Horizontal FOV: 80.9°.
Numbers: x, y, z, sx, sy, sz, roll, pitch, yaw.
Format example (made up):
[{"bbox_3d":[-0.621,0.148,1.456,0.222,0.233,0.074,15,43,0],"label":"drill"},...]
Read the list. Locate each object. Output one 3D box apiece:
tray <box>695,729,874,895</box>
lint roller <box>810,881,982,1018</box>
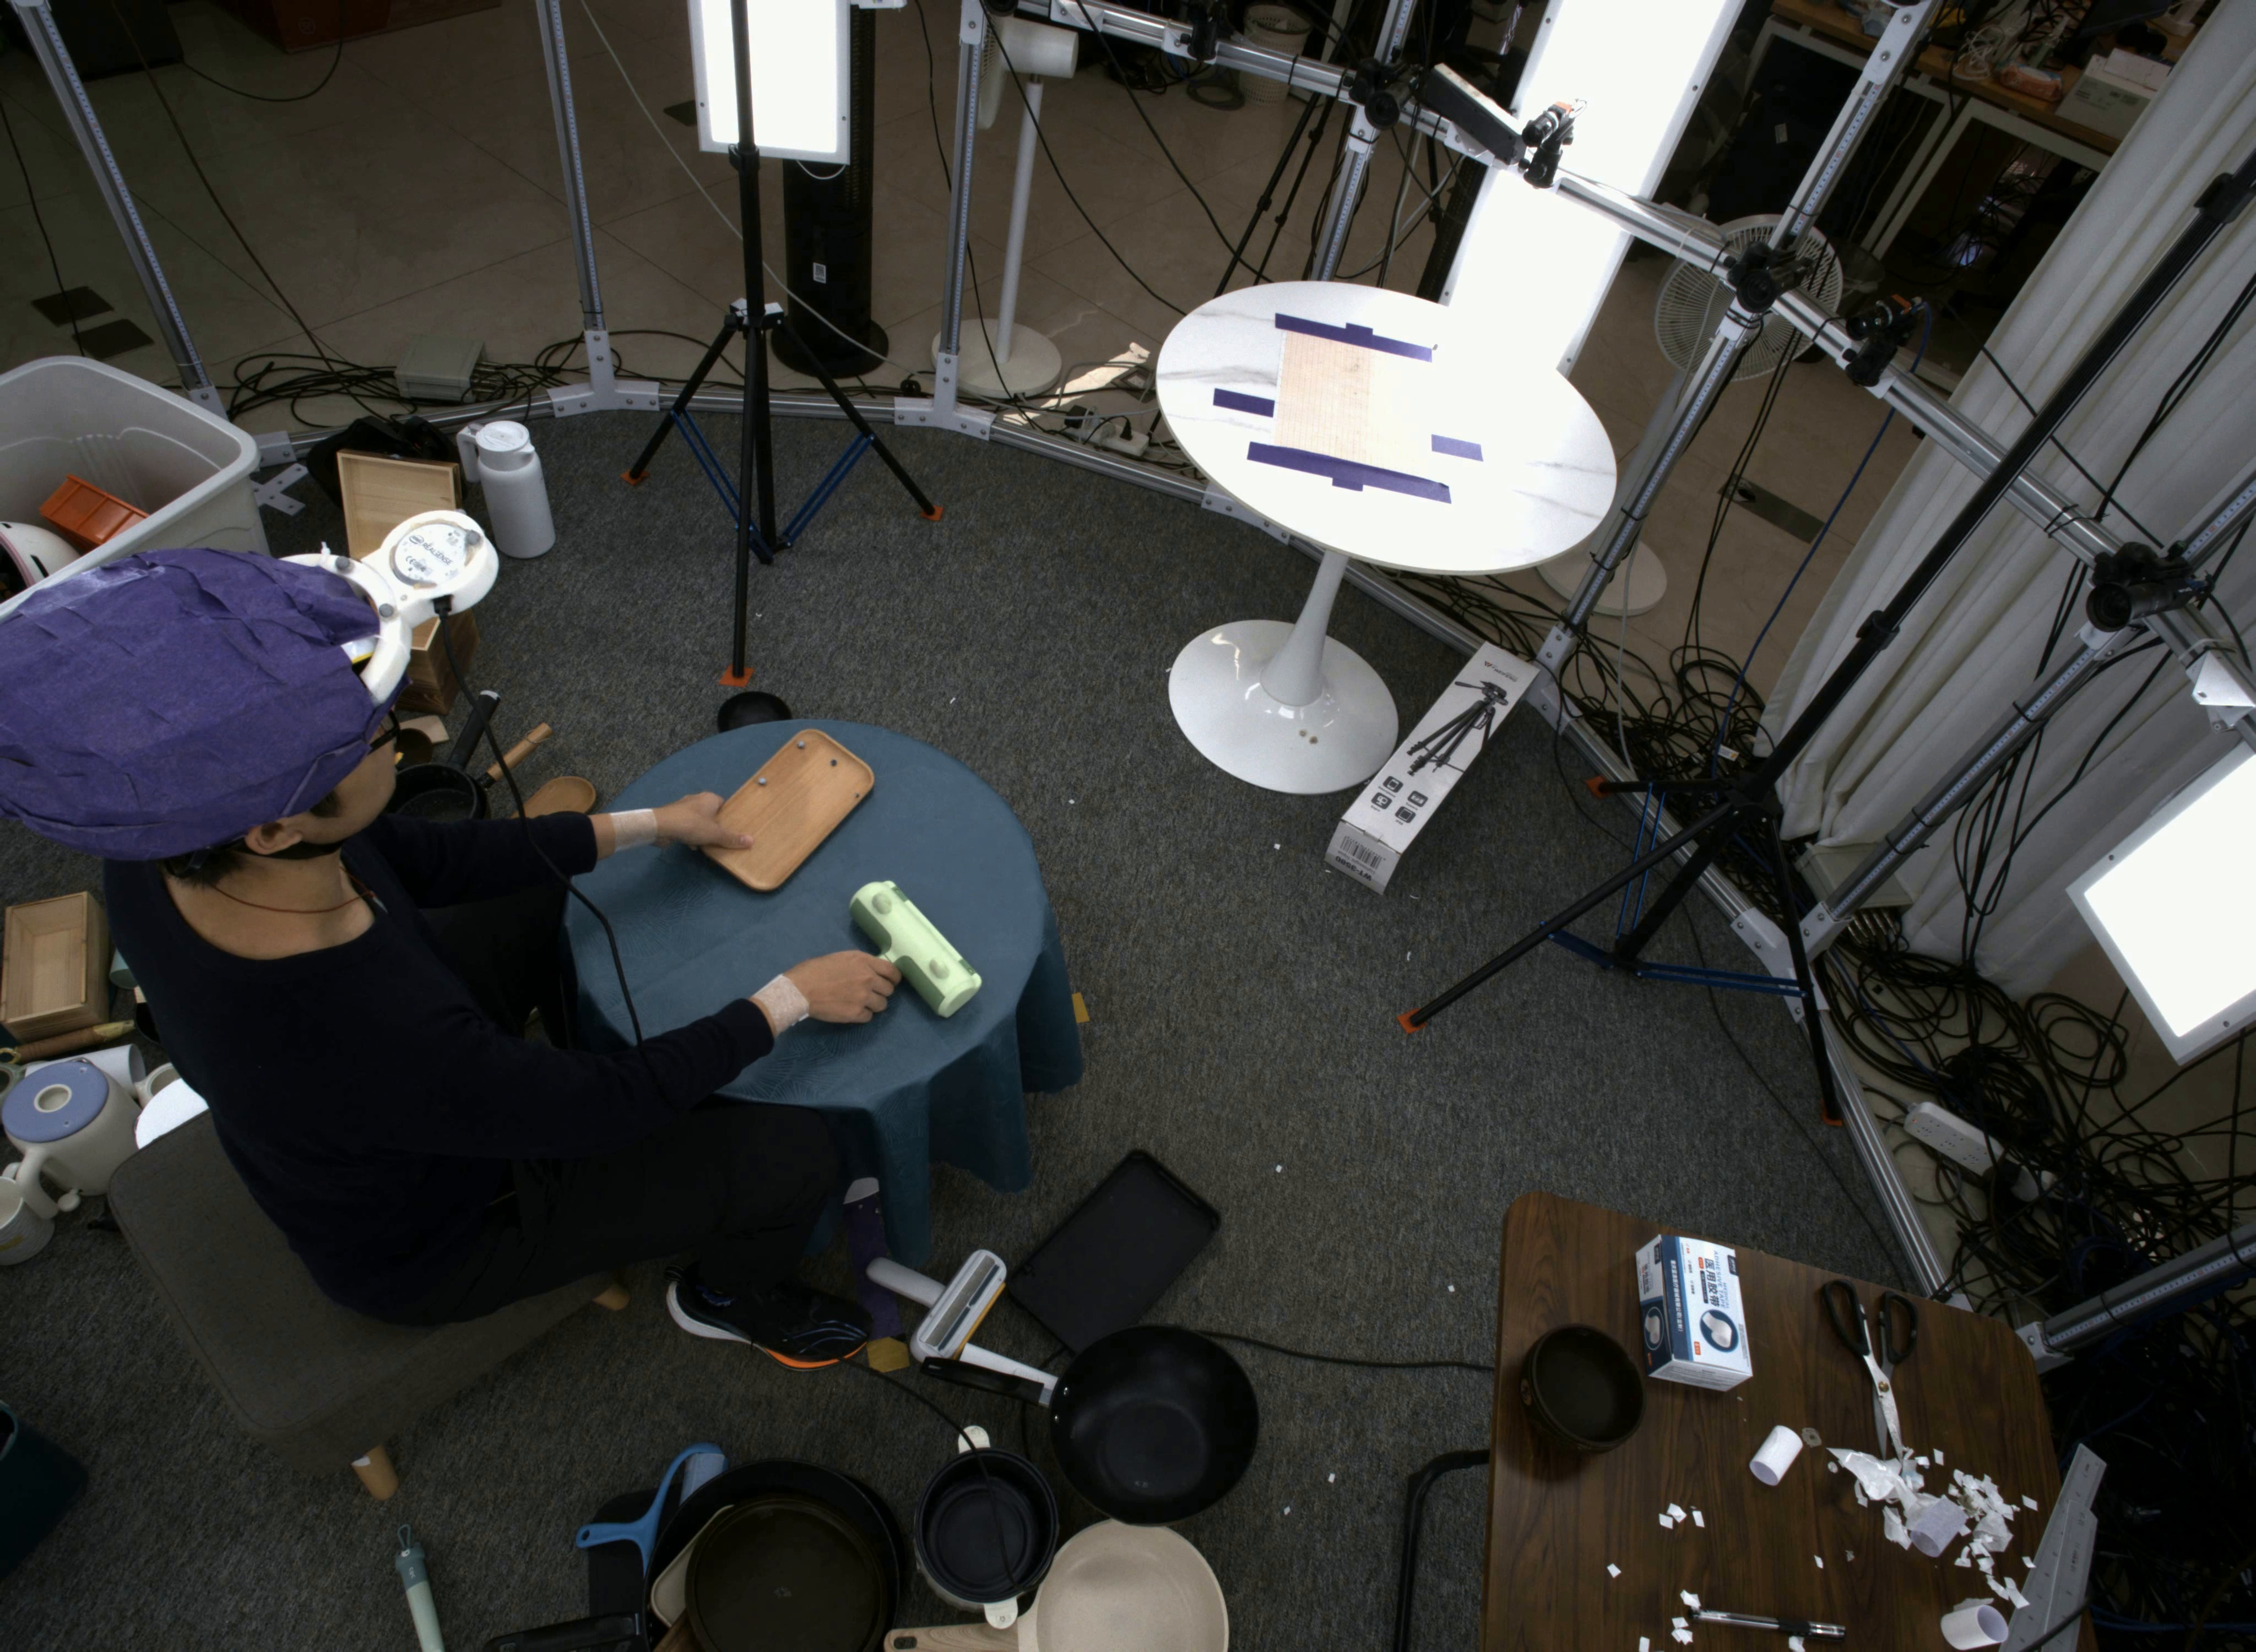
[{"bbox_3d":[-0.447,-0.022,1.699,0.130,0.023,0.250,36,53,1],"label":"tray"},{"bbox_3d":[-0.303,0.162,1.564,0.194,0.083,0.184,44,47,20],"label":"lint roller"}]
